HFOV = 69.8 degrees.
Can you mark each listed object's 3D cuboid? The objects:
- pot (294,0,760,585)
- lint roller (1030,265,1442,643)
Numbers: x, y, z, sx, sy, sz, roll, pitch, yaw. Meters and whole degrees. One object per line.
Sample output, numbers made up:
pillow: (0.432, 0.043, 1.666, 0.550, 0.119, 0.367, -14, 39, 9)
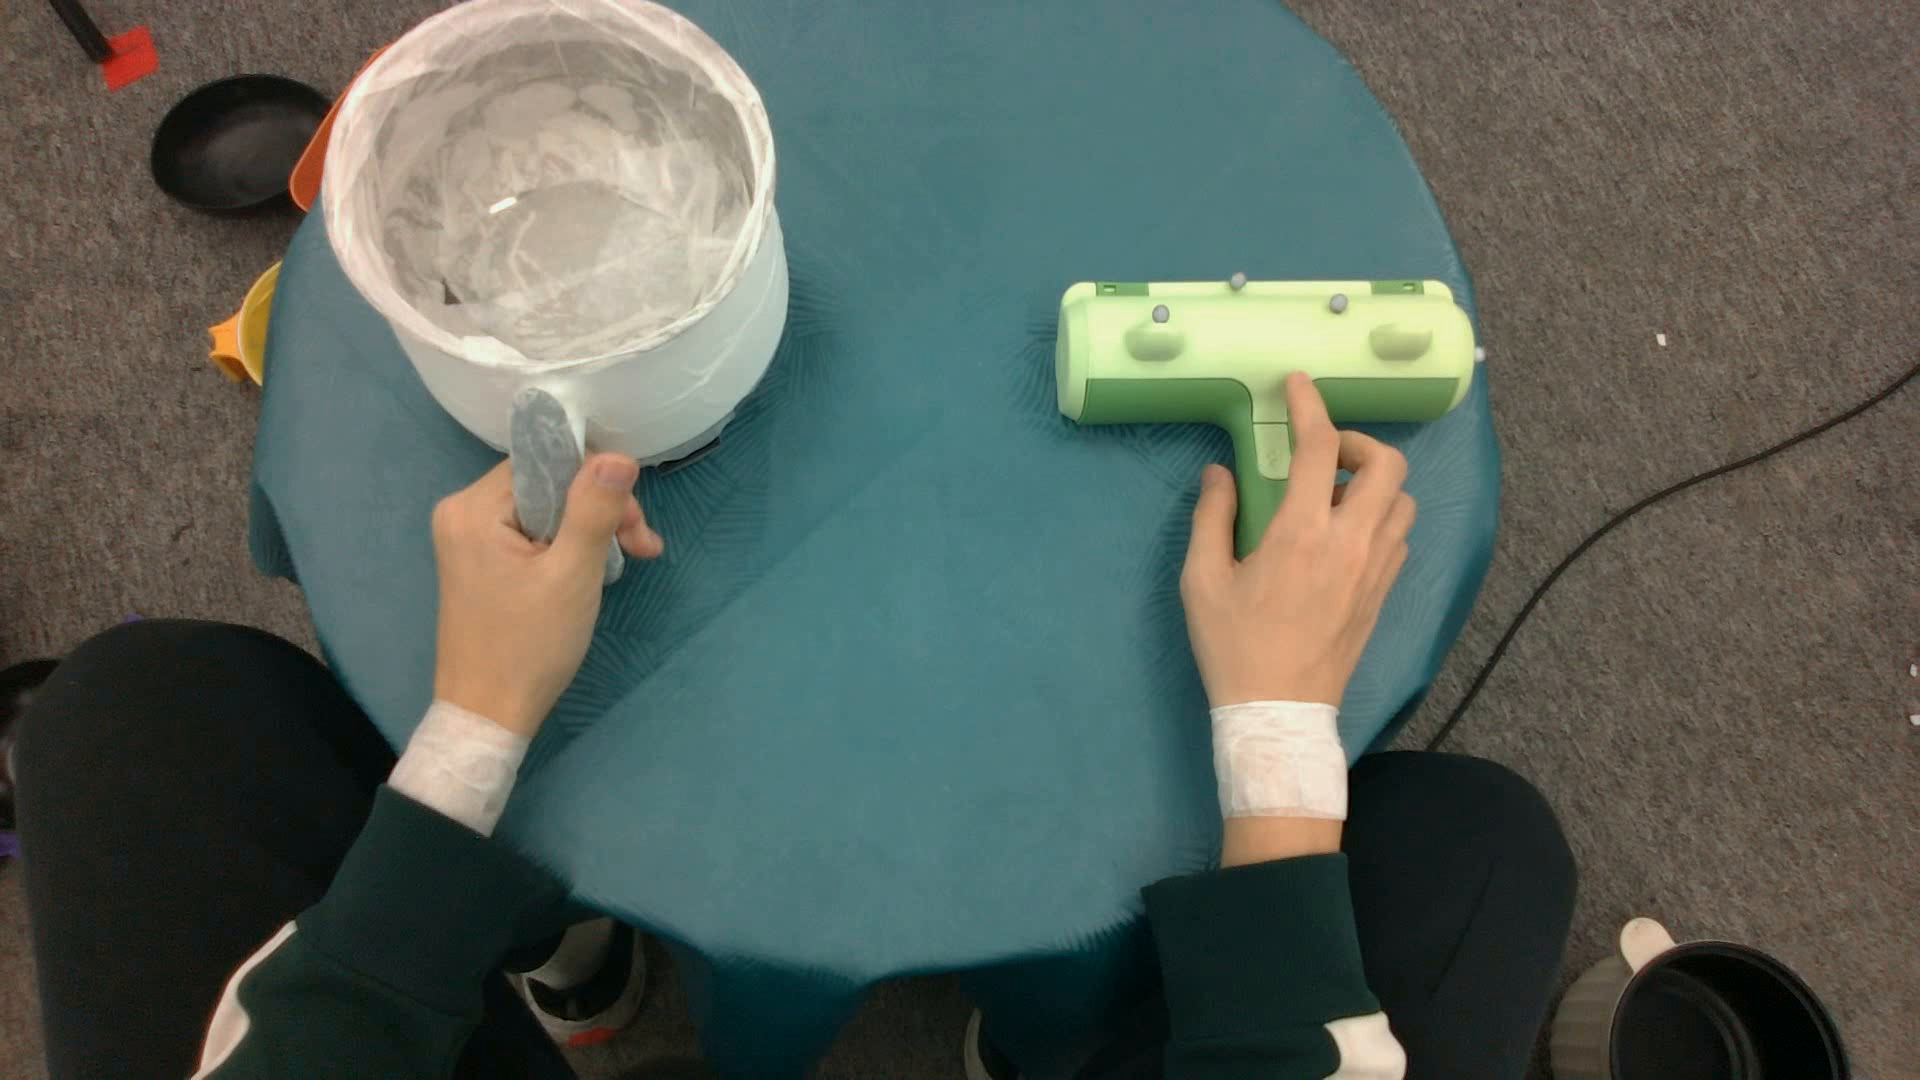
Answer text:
pot: (-0.178, -0.104, 0.605, 0.179, 0.136, 0.234, -2, 72, -5)
lint roller: (0.138, -0.049, 0.647, 0.199, 0.082, 0.184, -2, 67, -6)
